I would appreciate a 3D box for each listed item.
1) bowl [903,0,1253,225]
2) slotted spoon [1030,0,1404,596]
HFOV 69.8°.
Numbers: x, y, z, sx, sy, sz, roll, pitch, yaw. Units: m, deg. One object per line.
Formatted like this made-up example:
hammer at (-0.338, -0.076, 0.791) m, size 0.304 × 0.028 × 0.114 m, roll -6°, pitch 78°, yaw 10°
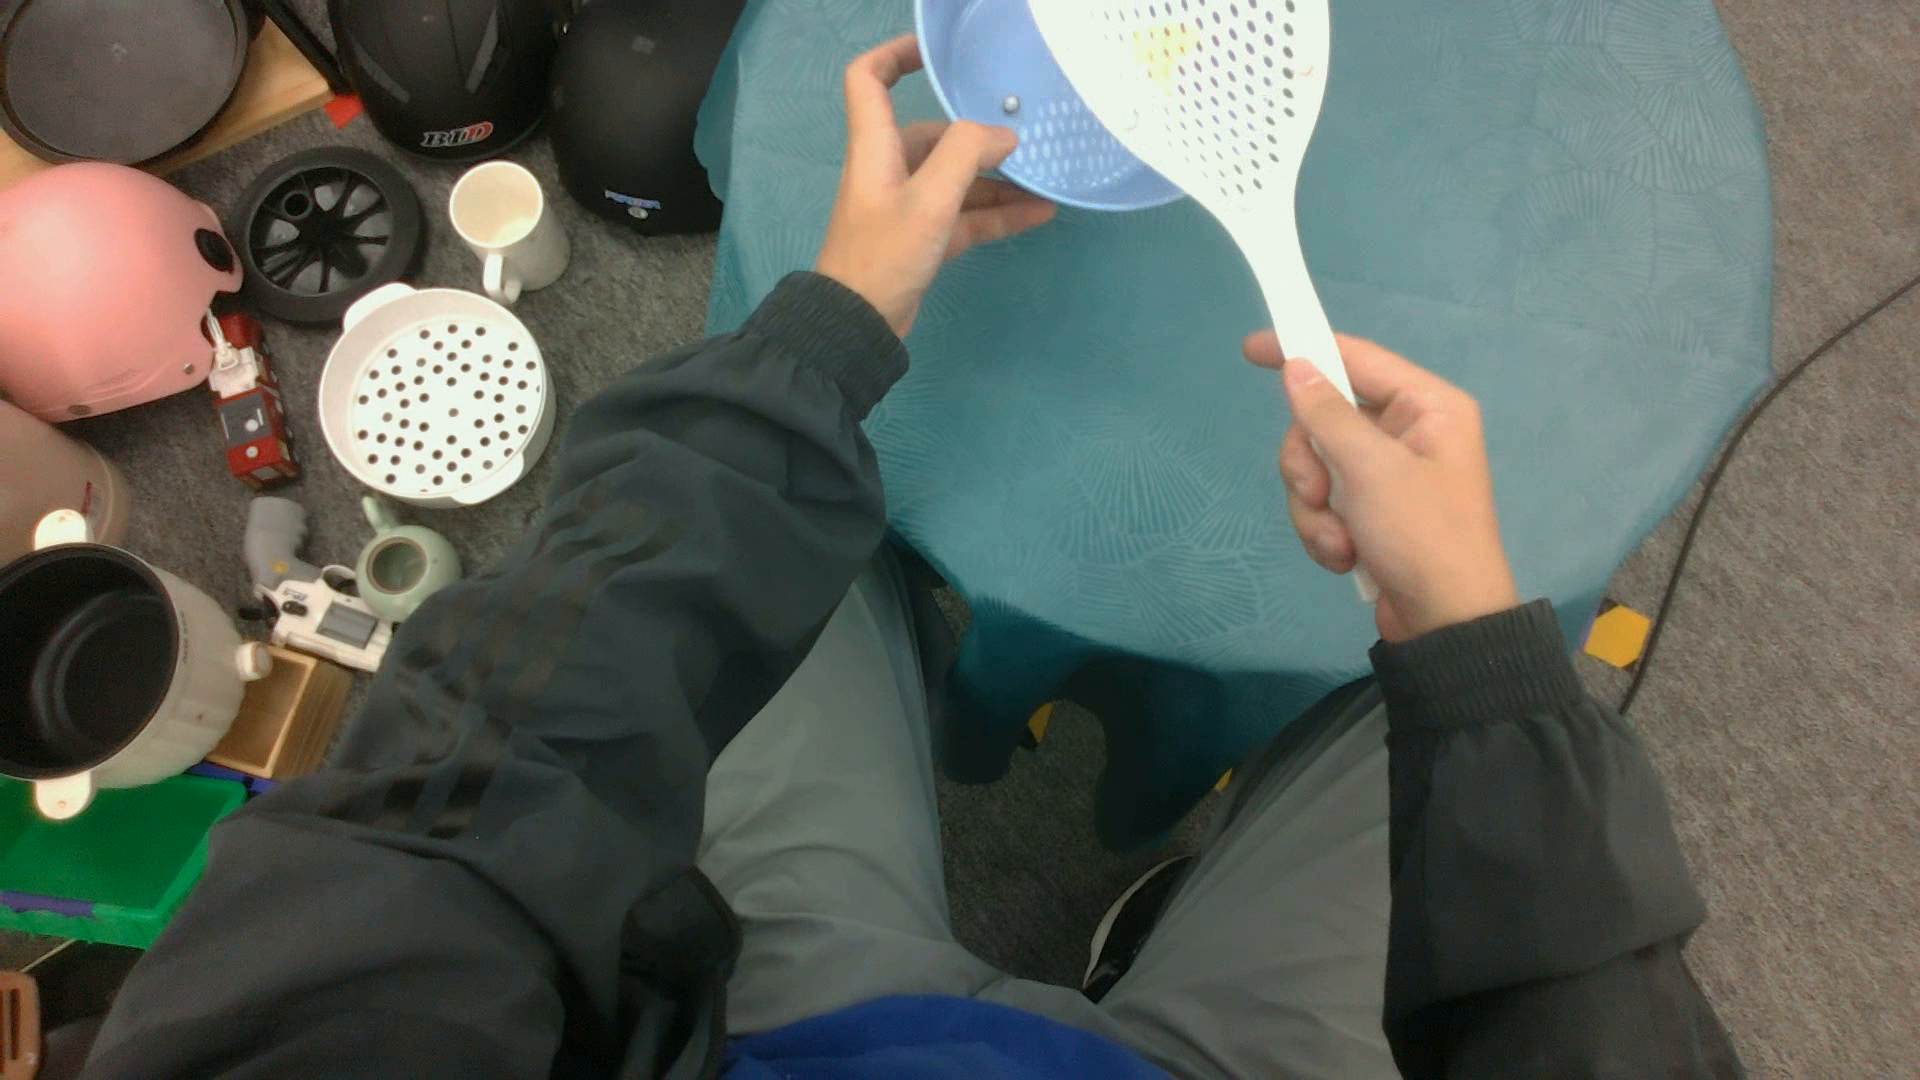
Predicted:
bowl at (0.054, -0.231, 0.681) m, size 0.176 × 0.070 × 0.176 m, roll 1°, pitch 83°, yaw -11°
slotted spoon at (0.126, -0.142, 0.604) m, size 0.137 × 0.050 × 0.348 m, roll -15°, pitch 76°, yaw -15°
